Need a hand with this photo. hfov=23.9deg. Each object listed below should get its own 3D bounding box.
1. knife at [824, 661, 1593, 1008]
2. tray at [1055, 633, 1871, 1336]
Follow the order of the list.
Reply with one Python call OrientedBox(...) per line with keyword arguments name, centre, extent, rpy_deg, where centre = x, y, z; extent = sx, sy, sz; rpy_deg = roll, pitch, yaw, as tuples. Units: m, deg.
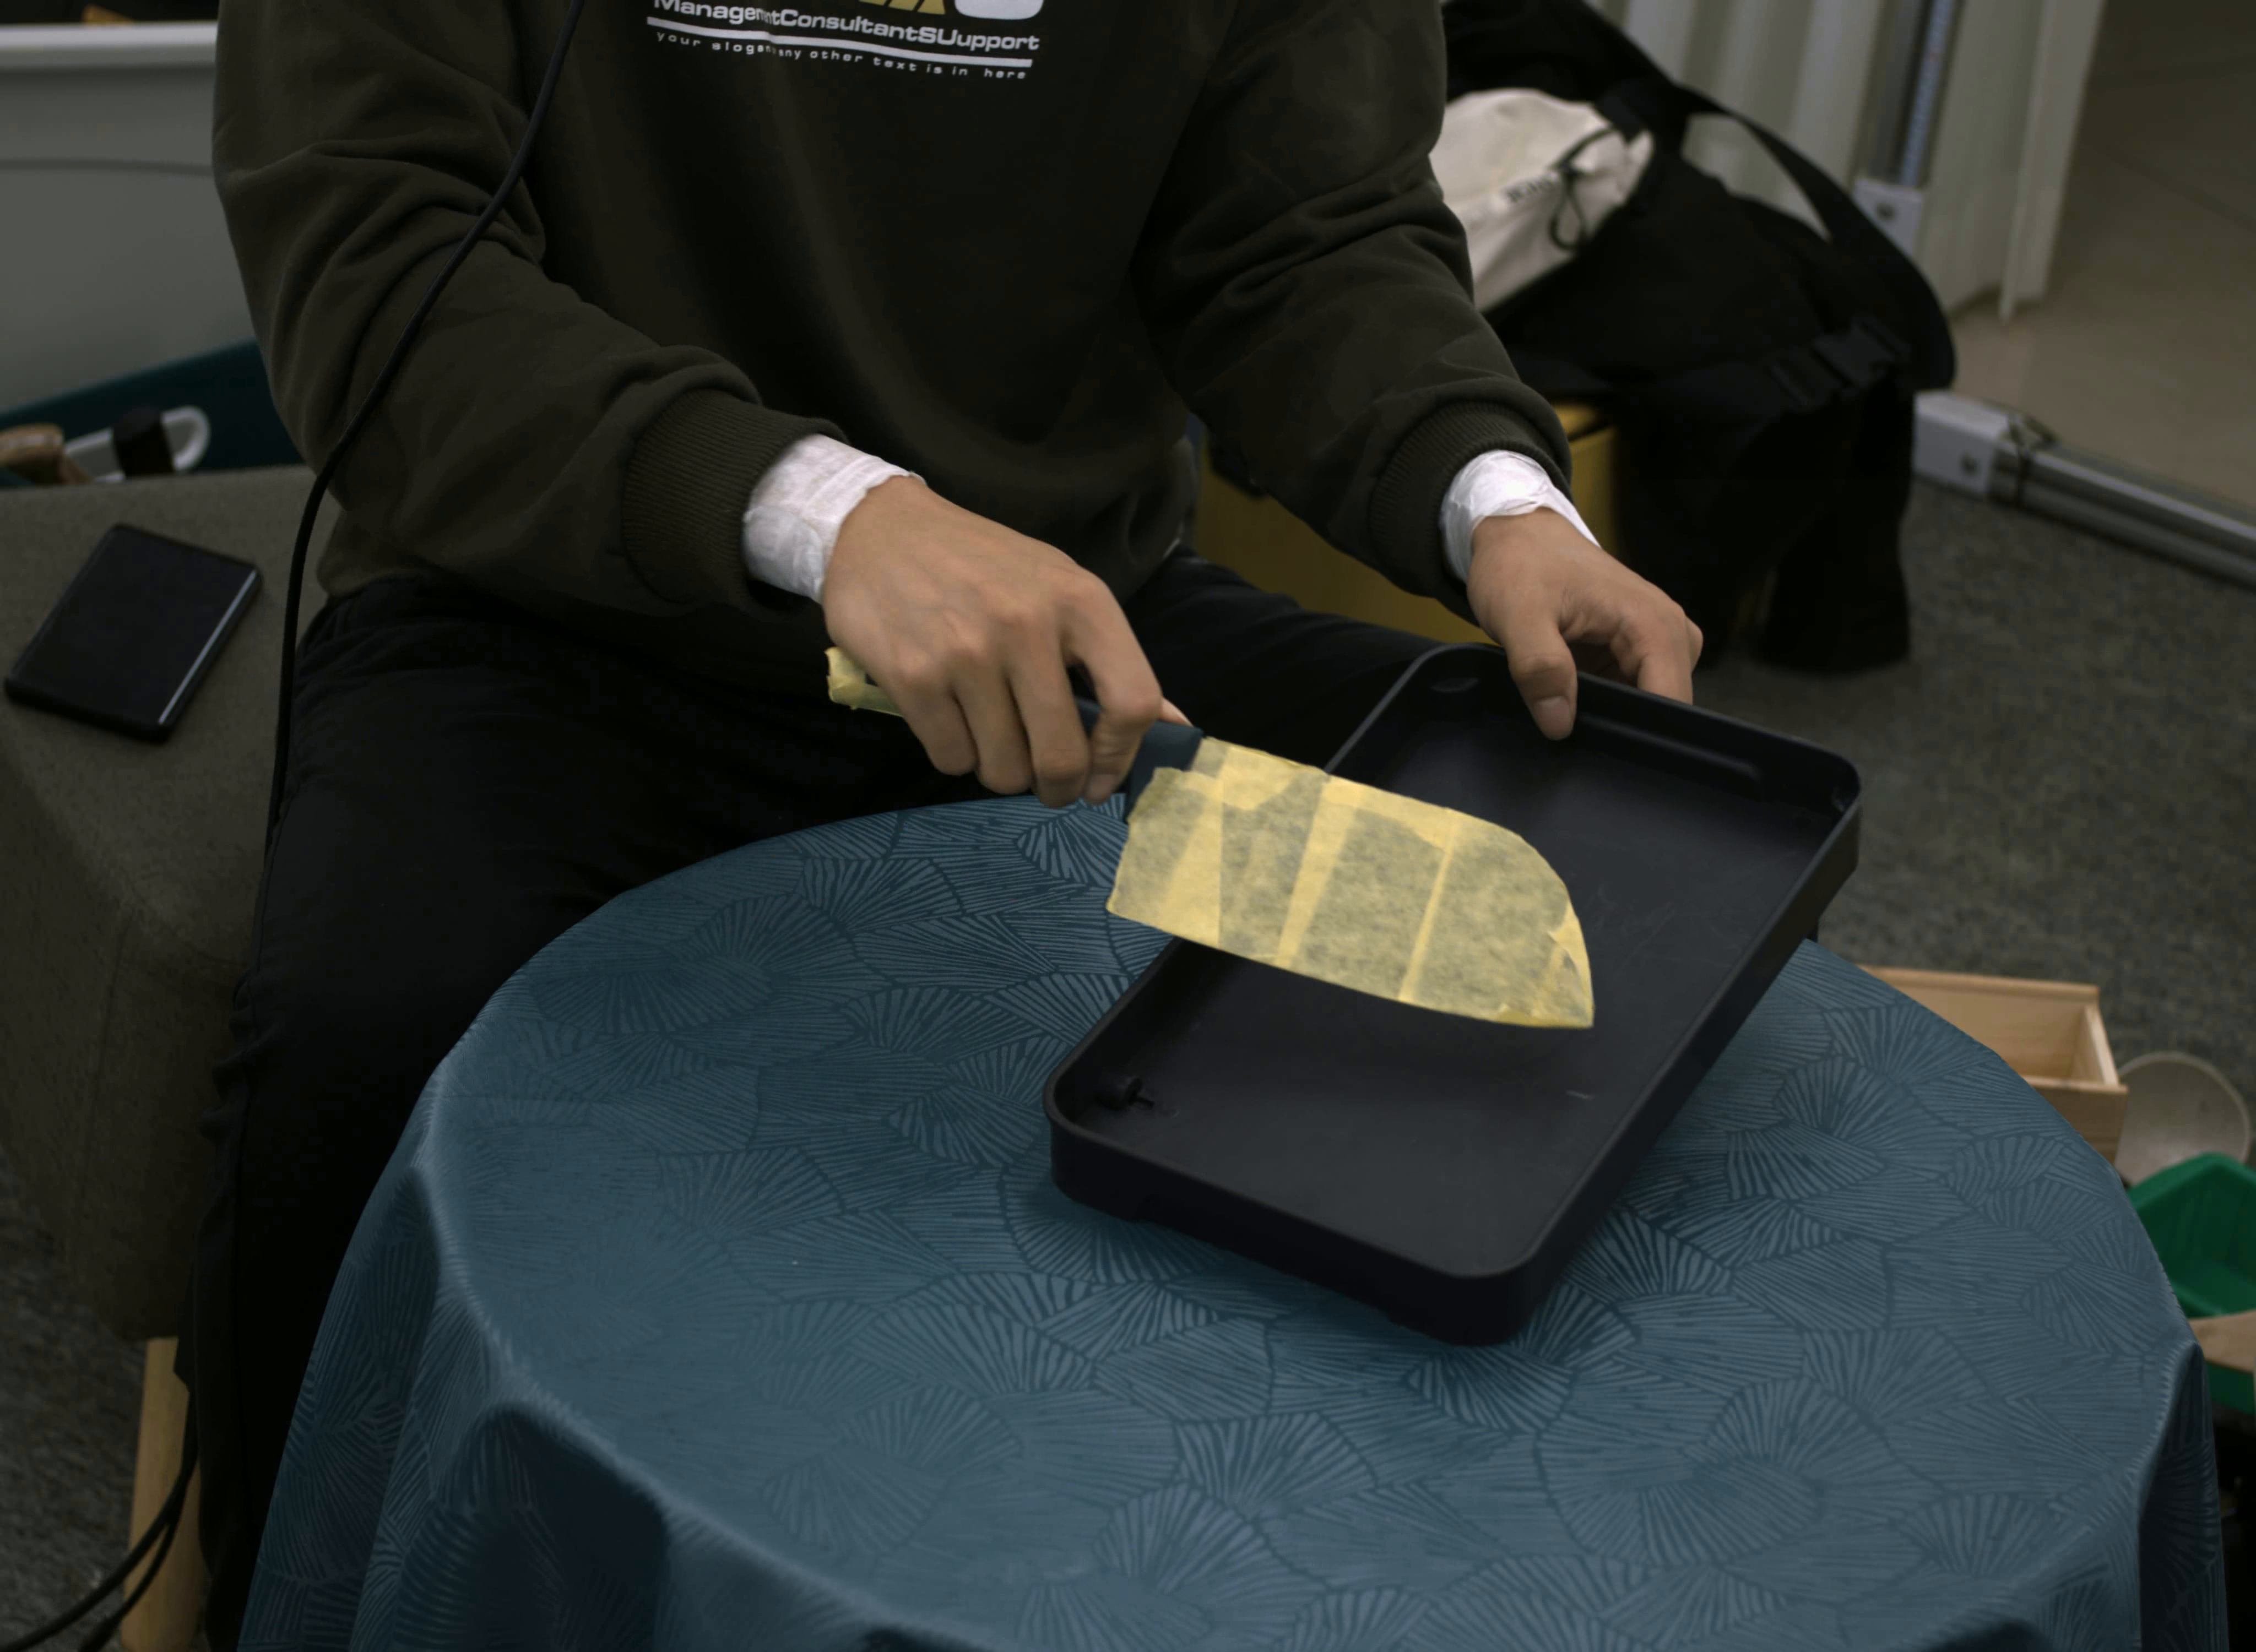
OrientedBox(name="knife", centre=(0.024, 0.002, 1.850), extent=(0.289, 0.027, 0.081), rpy_deg=(18, 71, 9))
OrientedBox(name="tray", centre=(0.123, 0.048, 1.867), extent=(0.185, 0.037, 0.318), rpy_deg=(16, 42, 23))
